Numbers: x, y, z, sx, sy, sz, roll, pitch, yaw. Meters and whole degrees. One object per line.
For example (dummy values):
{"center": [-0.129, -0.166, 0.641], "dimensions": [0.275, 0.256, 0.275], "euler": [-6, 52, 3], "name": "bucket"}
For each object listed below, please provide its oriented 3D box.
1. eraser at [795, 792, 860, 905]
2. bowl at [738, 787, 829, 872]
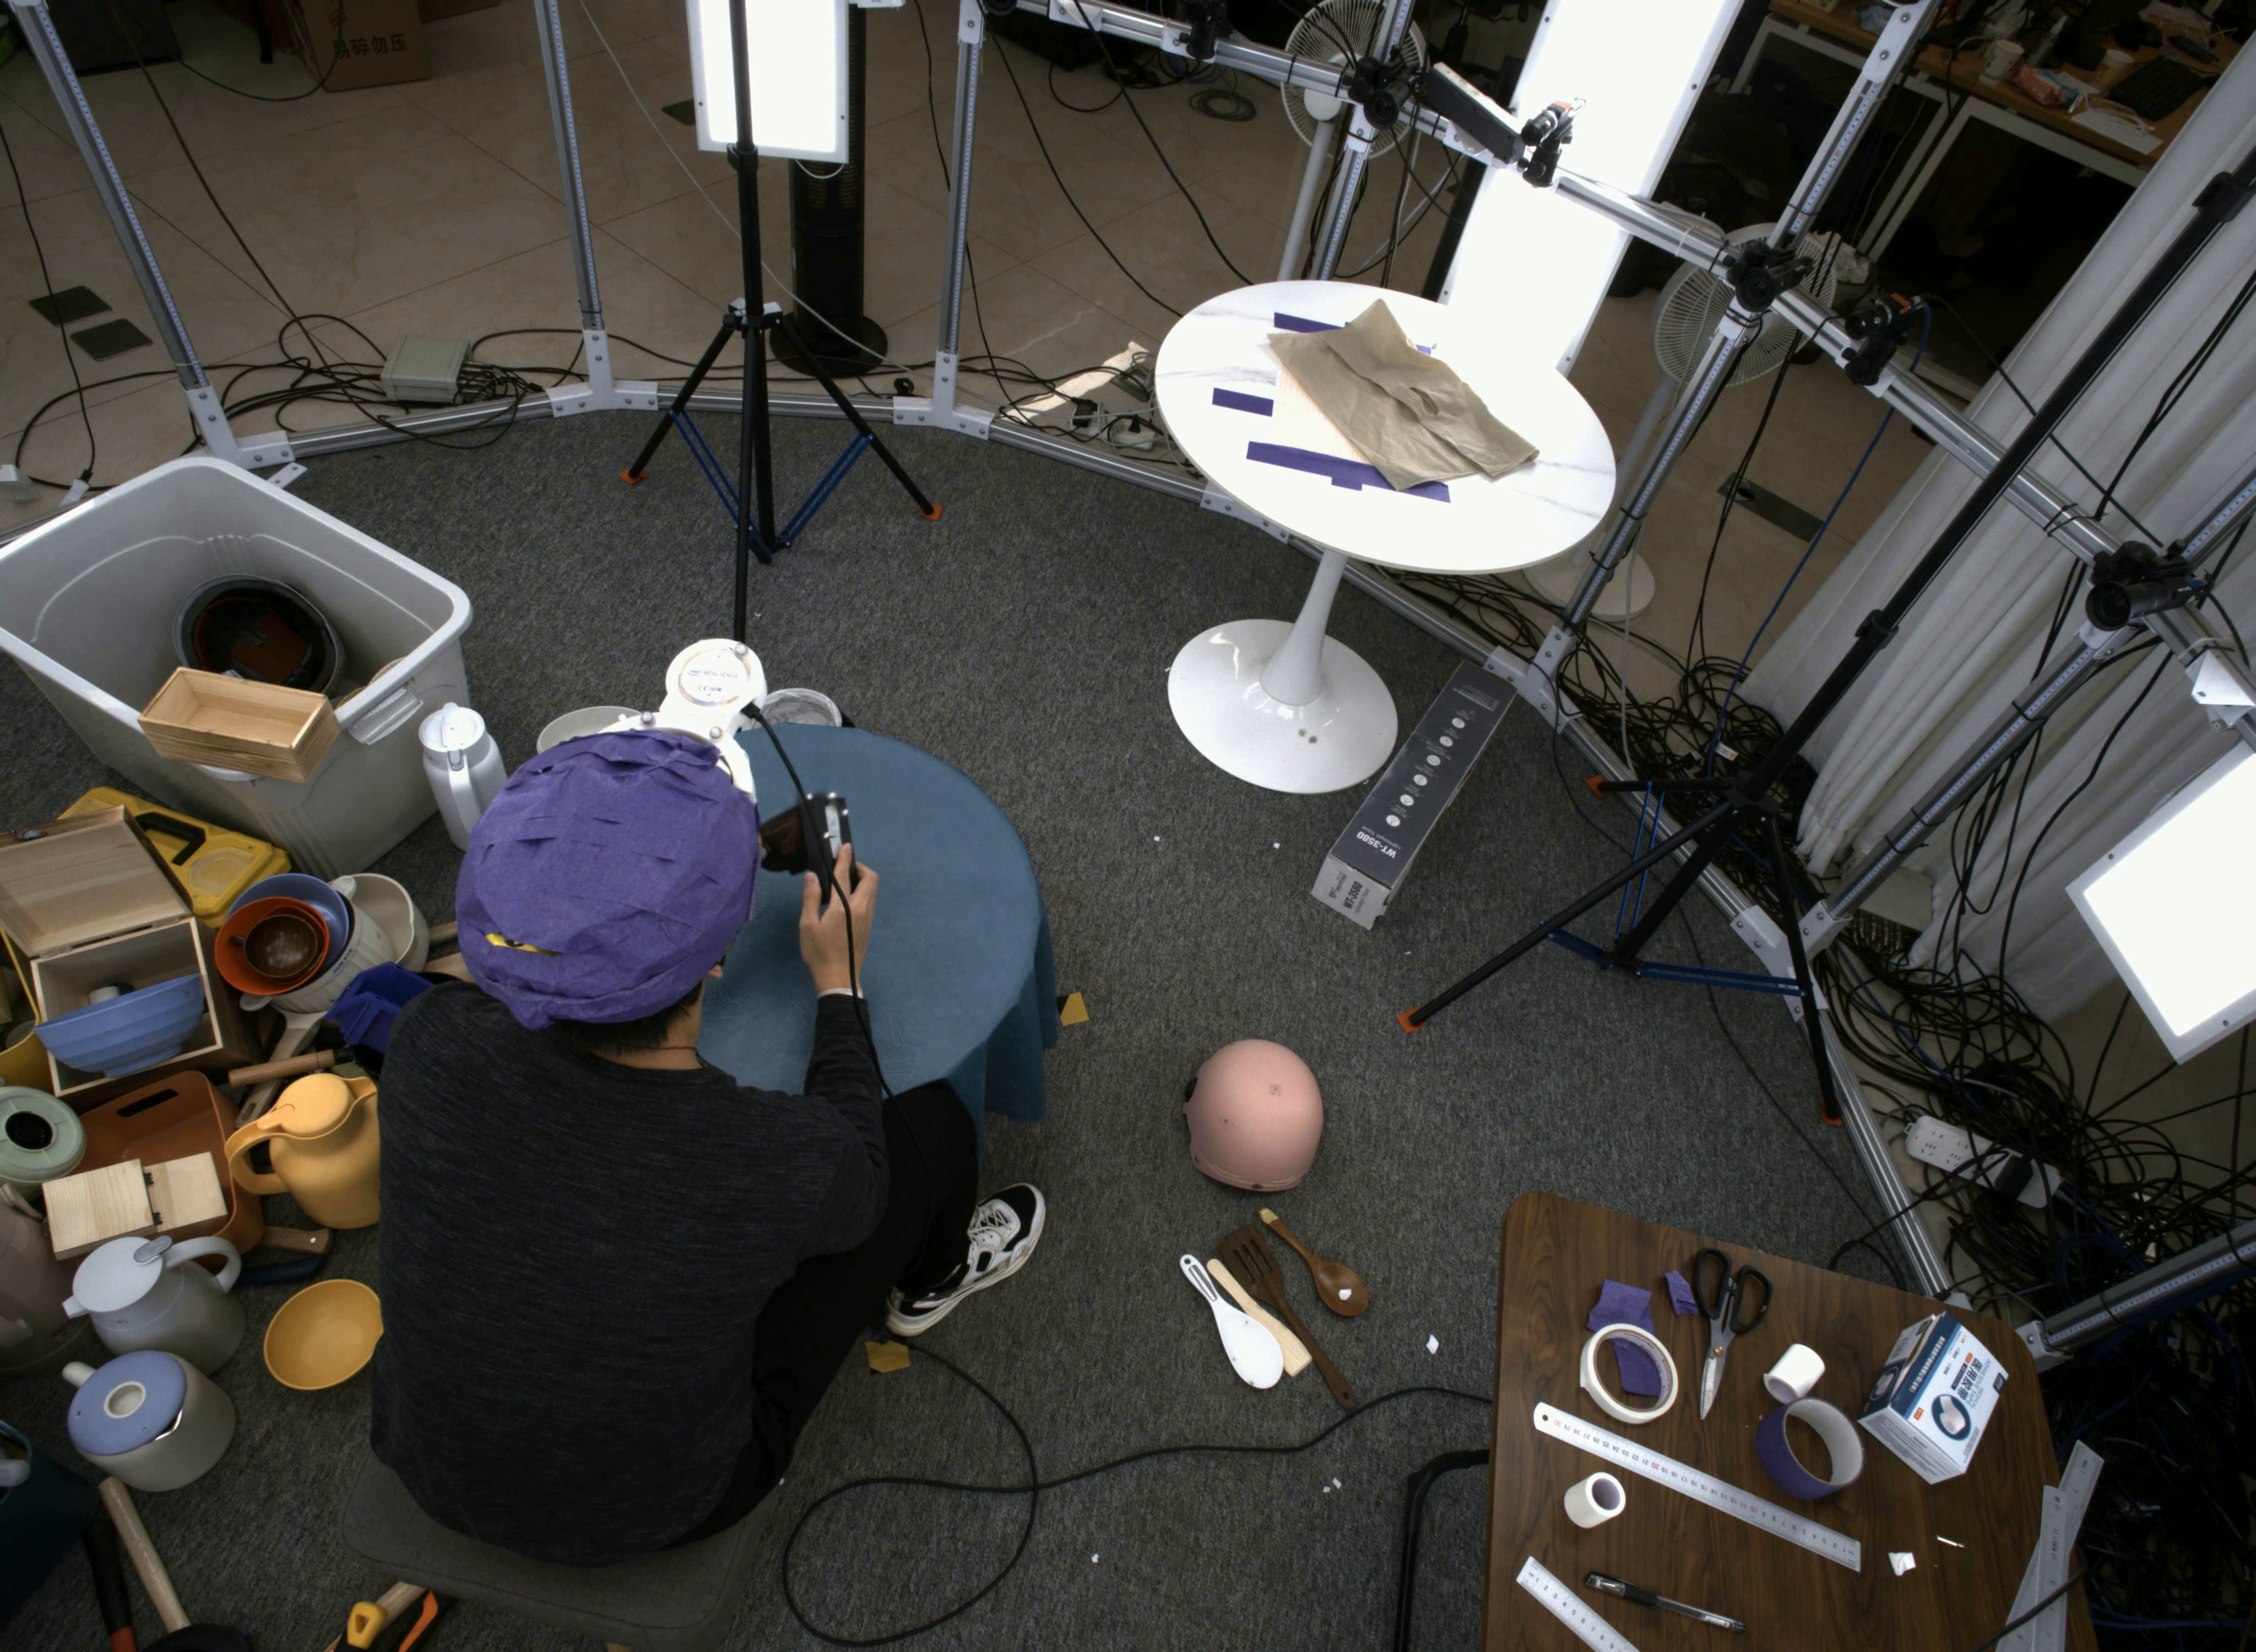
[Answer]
{"center": [-0.350, 0.025, 1.508], "dimensions": [0.054, 0.029, 0.127], "euler": [-12, 91, -50], "name": "eraser"}
{"center": [-0.401, 0.009, 1.559], "dimensions": [0.118, 0.115, 0.071], "euler": [-36, 108, -33], "name": "bowl"}
